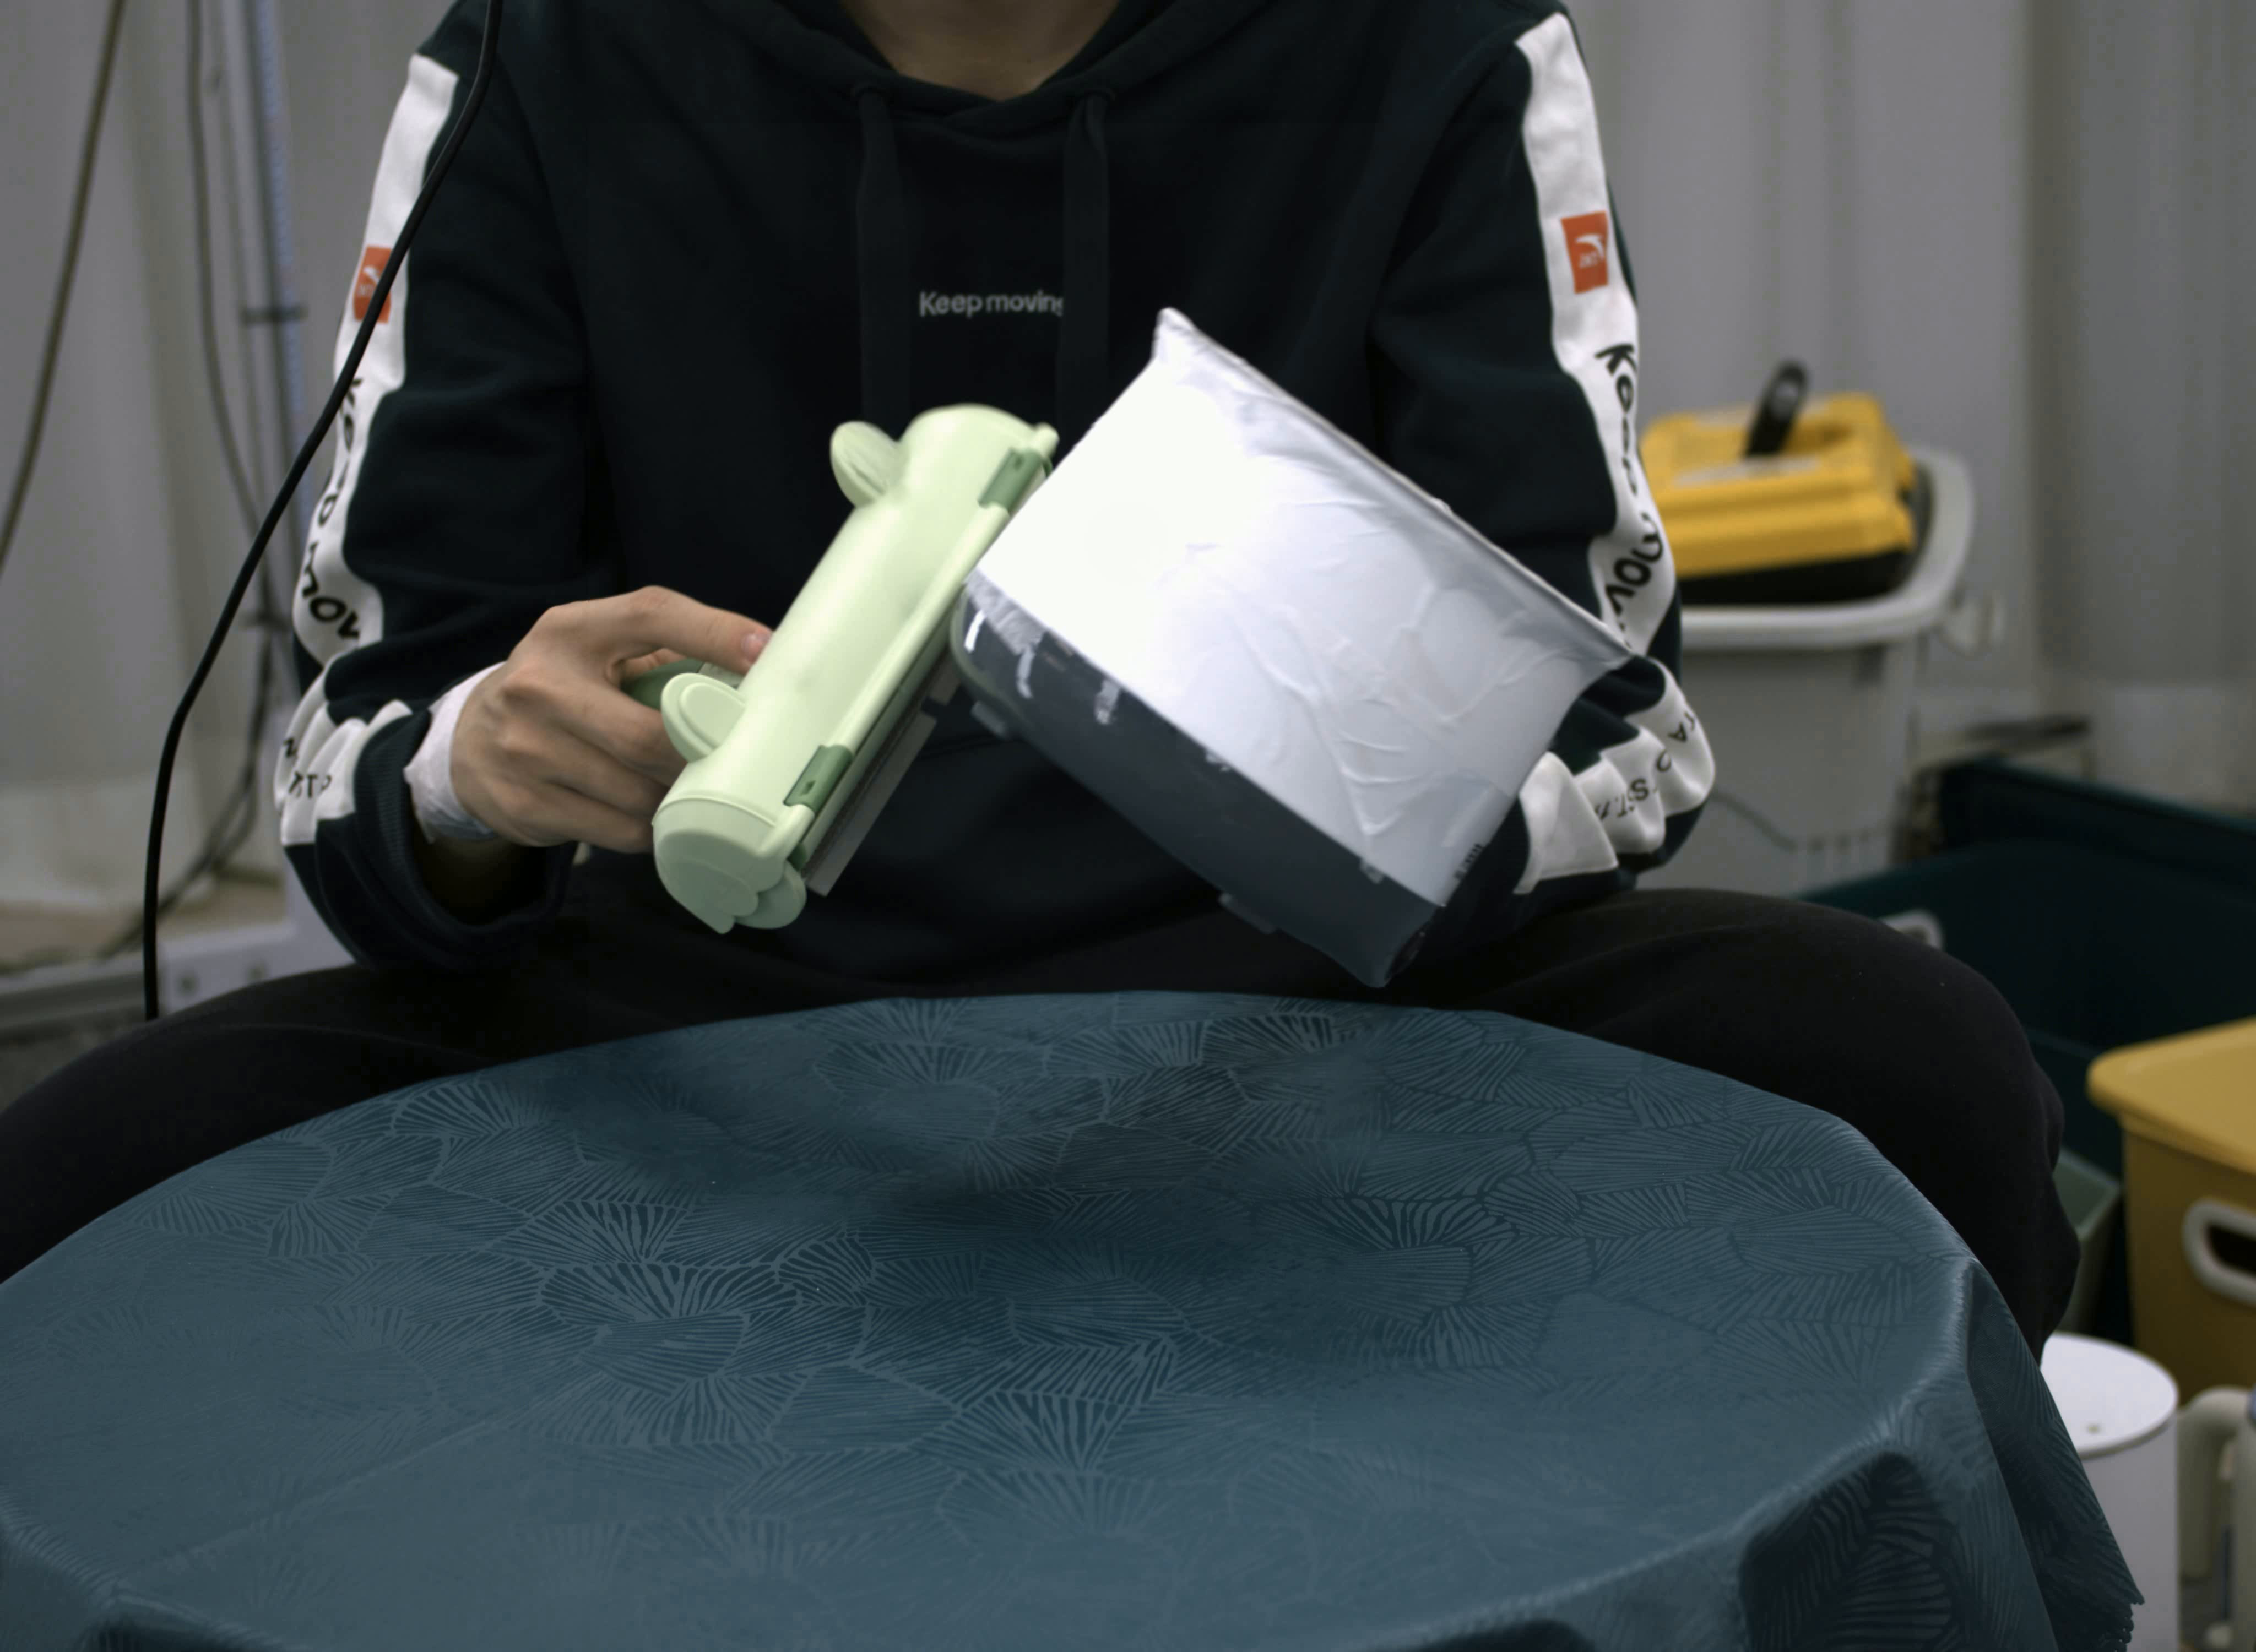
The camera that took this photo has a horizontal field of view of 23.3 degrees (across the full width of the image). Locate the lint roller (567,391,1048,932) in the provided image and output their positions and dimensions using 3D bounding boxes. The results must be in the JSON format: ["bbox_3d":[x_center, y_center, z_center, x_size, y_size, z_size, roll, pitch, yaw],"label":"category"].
[{"bbox_3d":[-0.130,-0.054,1.742,0.183,0.081,0.200,-6,42,41],"label":"lint roller"}]

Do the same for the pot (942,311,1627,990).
[{"bbox_3d":[0.047,-0.052,1.688,0.179,0.136,0.233,37,5,10],"label":"pot"}]
